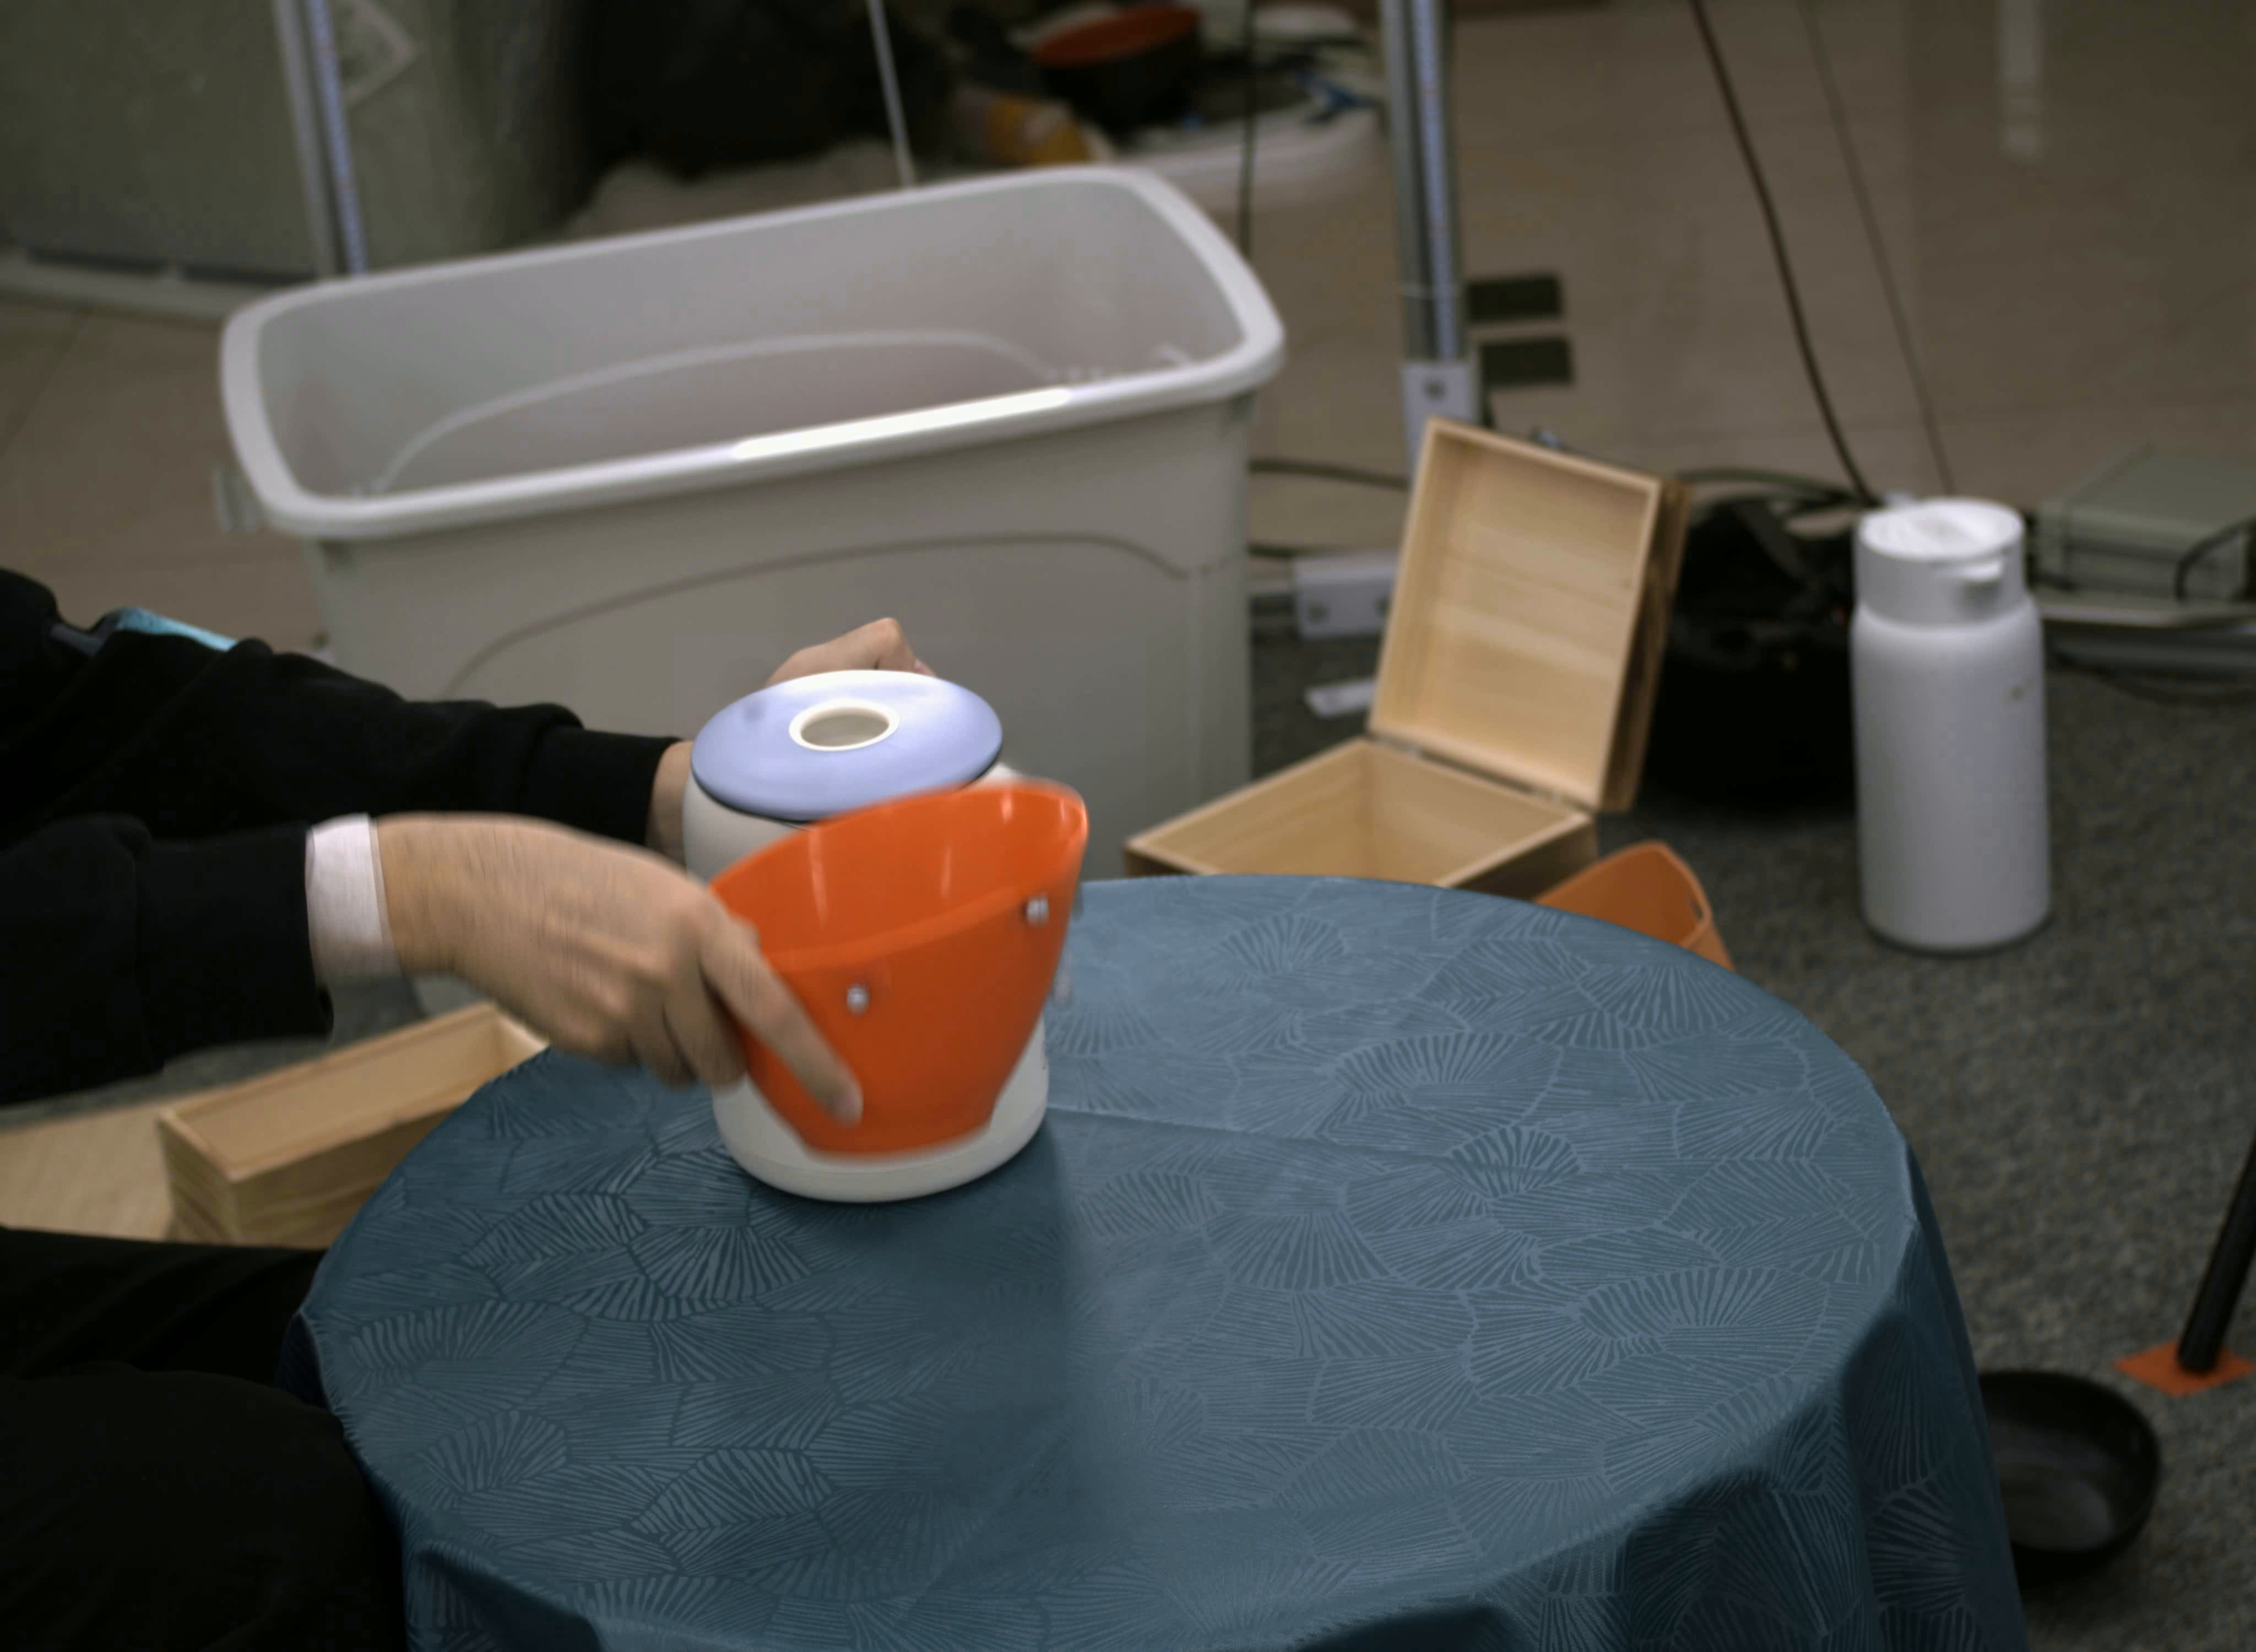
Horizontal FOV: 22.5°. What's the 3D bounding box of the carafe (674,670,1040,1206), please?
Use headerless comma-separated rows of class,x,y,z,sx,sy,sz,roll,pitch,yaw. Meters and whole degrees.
carafe,-0.104,0.031,2.185,0.132,0.185,0.188,-4,26,-1

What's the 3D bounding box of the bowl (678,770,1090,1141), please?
bowl,-0.079,0.048,1.974,0.148,0.105,0.147,-8,12,2
